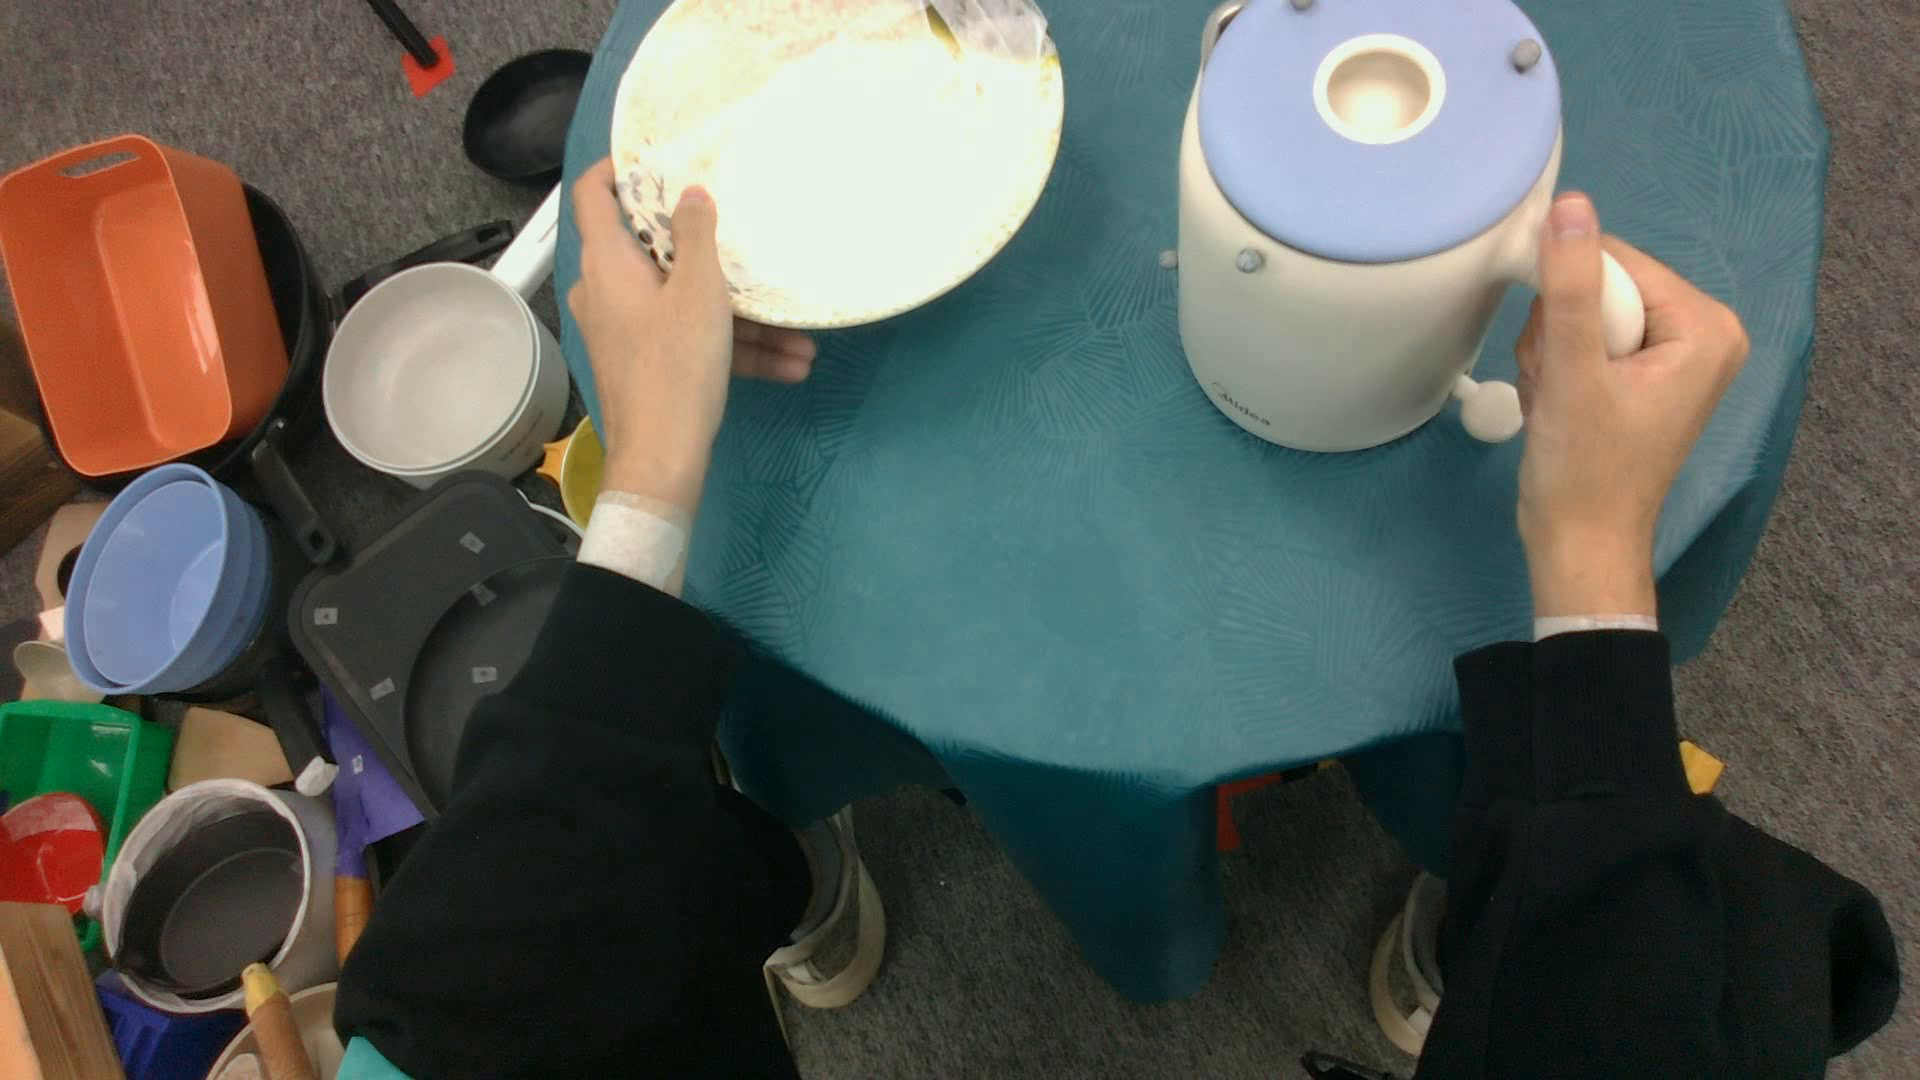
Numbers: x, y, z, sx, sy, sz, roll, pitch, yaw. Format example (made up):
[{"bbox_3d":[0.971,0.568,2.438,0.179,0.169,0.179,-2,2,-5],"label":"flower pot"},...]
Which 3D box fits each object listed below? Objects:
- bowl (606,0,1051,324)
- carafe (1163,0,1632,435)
[{"bbox_3d":[-0.055,-0.182,0.645,0.204,0.078,0.204,-2,75,9],"label":"bowl"},{"bbox_3d":[0.167,-0.115,0.543,0.191,0.182,0.132,36,82,14],"label":"carafe"}]
